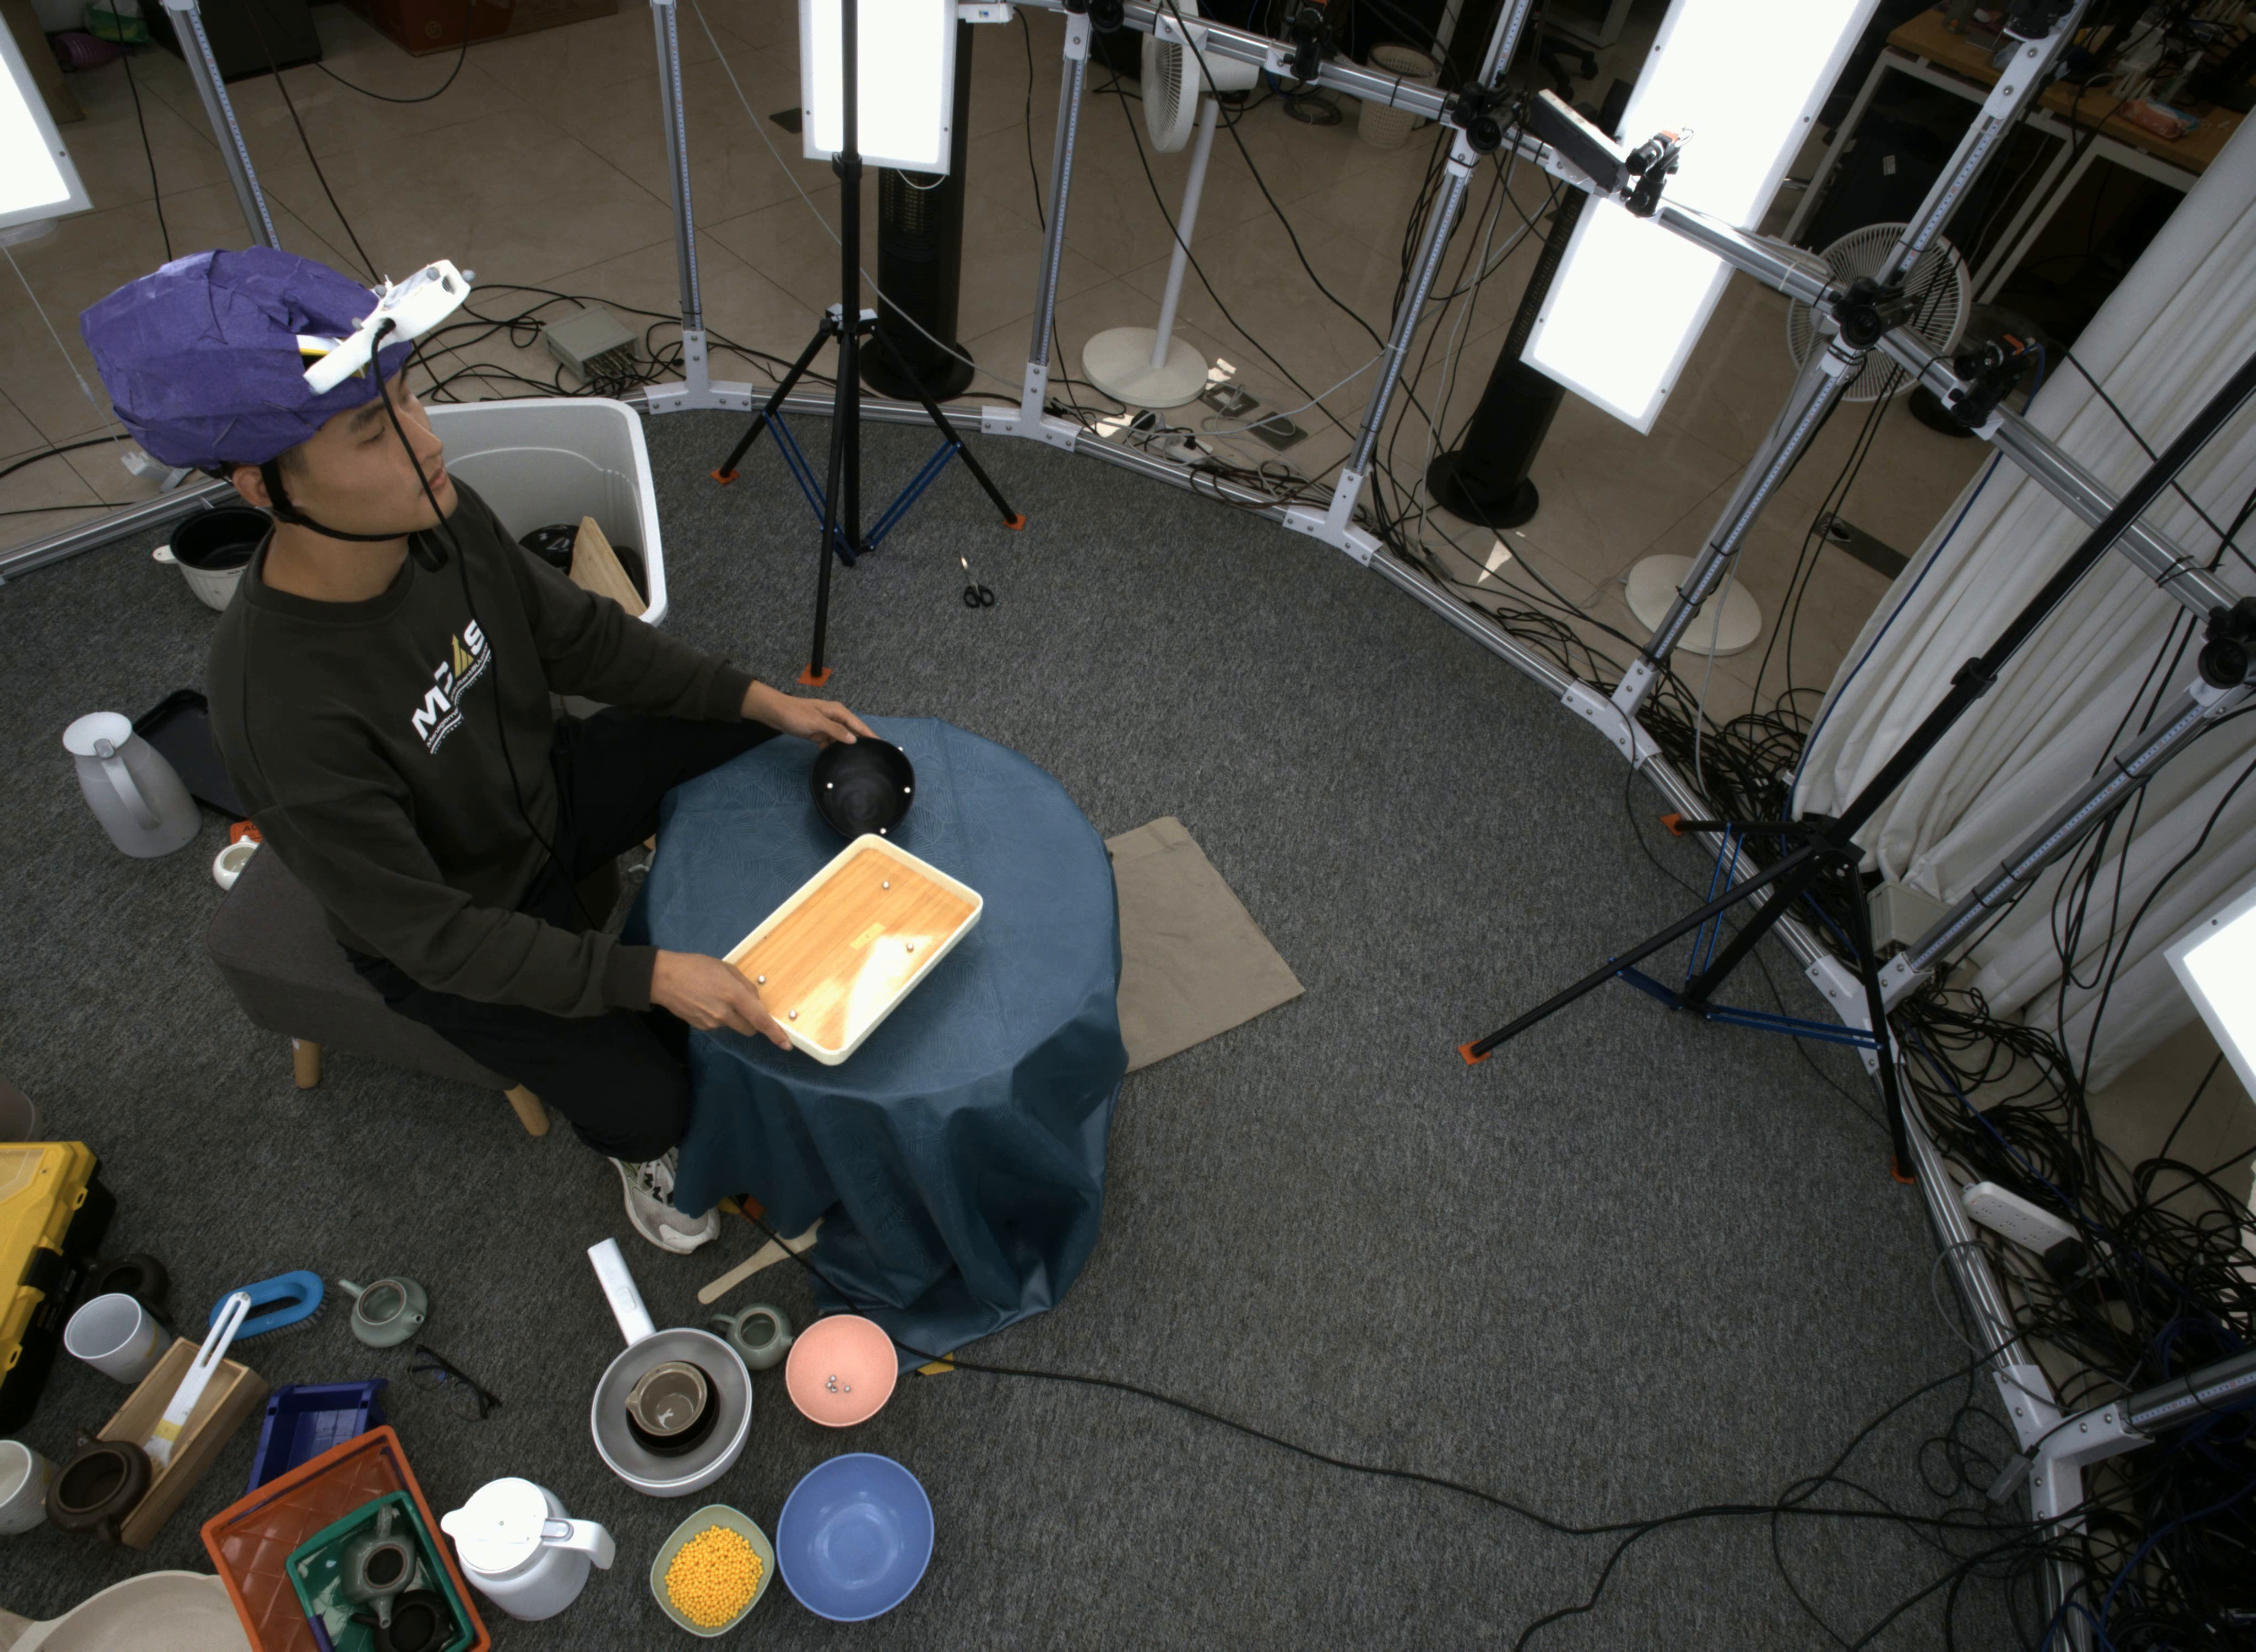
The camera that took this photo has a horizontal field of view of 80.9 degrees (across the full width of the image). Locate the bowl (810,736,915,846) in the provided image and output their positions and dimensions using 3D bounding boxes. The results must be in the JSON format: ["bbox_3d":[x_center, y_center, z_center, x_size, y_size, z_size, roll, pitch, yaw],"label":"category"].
[{"bbox_3d":[-0.354,-0.039,1.741,0.137,0.068,0.167,-5,58,-14],"label":"bowl"}]

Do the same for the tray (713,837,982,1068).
[{"bbox_3d":[-0.332,0.141,1.564,0.187,0.028,0.299,30,46,13],"label":"tray"}]
